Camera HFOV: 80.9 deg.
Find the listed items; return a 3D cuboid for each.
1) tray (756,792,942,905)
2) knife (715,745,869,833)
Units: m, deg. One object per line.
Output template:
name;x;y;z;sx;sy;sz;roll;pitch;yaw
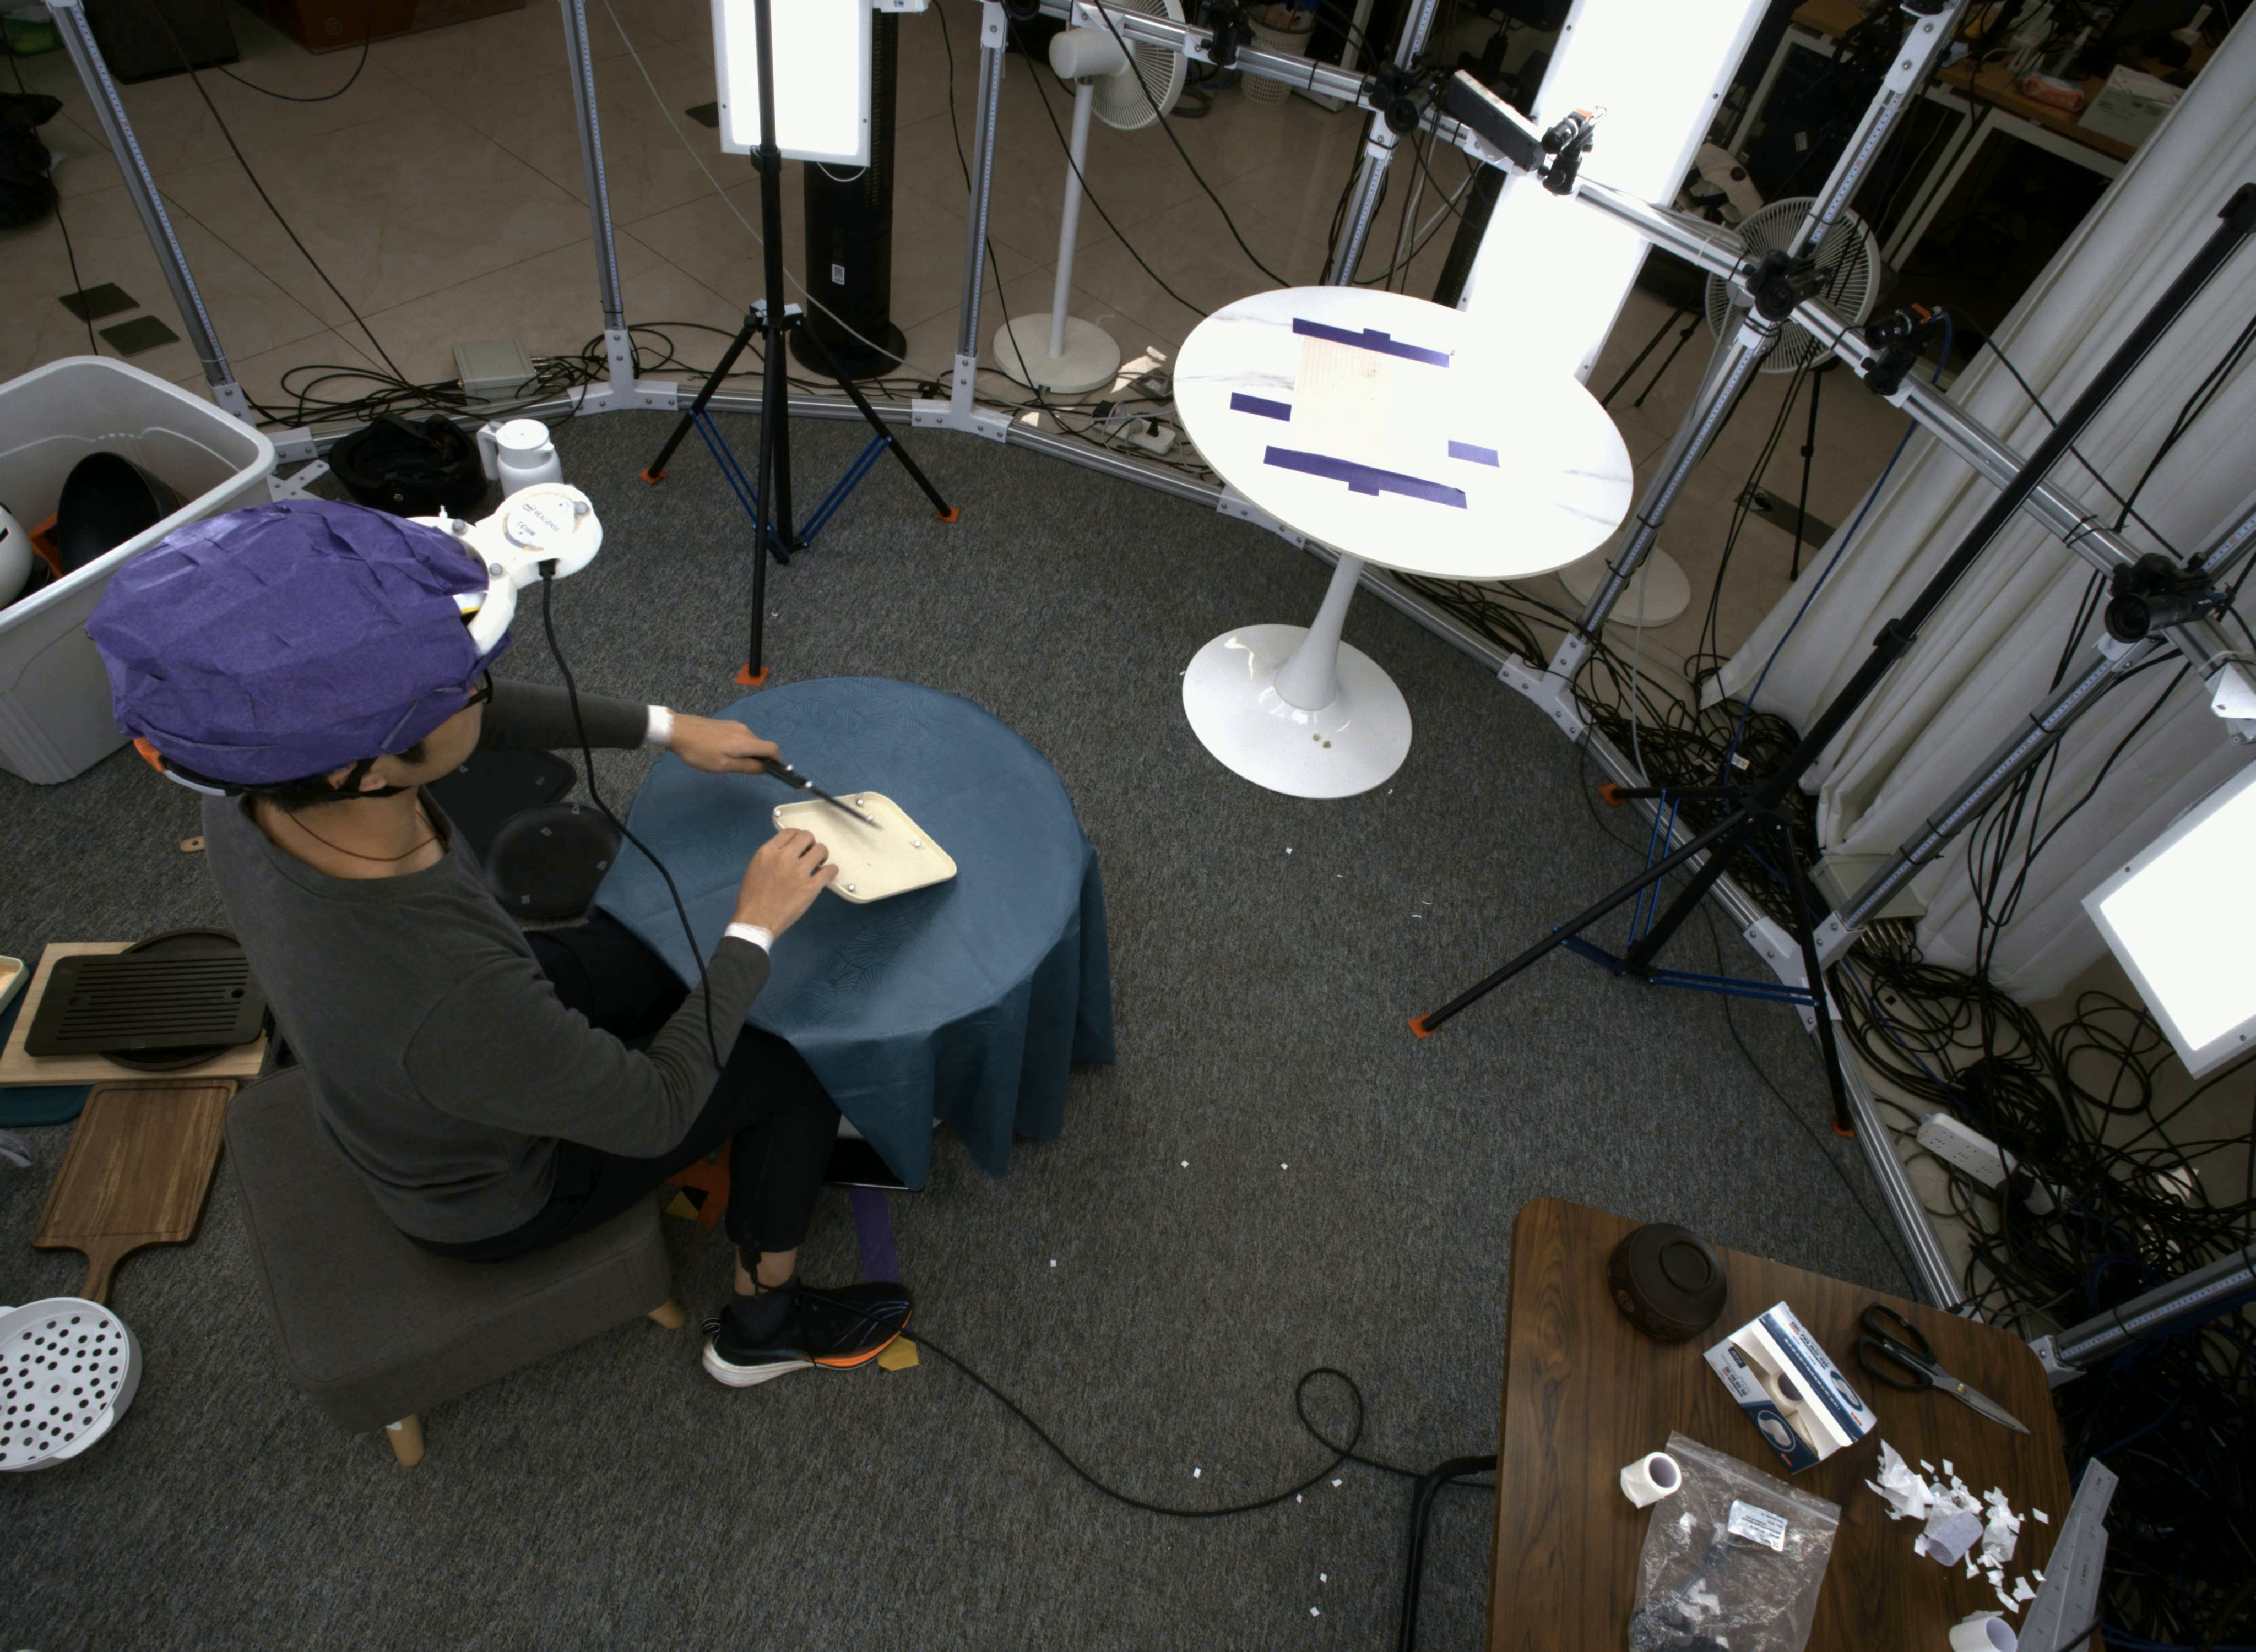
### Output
tray;-0.350;0.026;1.643;0.168;0.017;0.242;44;22;13
knife;-0.431;-0.046;1.651;0.234;0.016;0.024;28;21;8
